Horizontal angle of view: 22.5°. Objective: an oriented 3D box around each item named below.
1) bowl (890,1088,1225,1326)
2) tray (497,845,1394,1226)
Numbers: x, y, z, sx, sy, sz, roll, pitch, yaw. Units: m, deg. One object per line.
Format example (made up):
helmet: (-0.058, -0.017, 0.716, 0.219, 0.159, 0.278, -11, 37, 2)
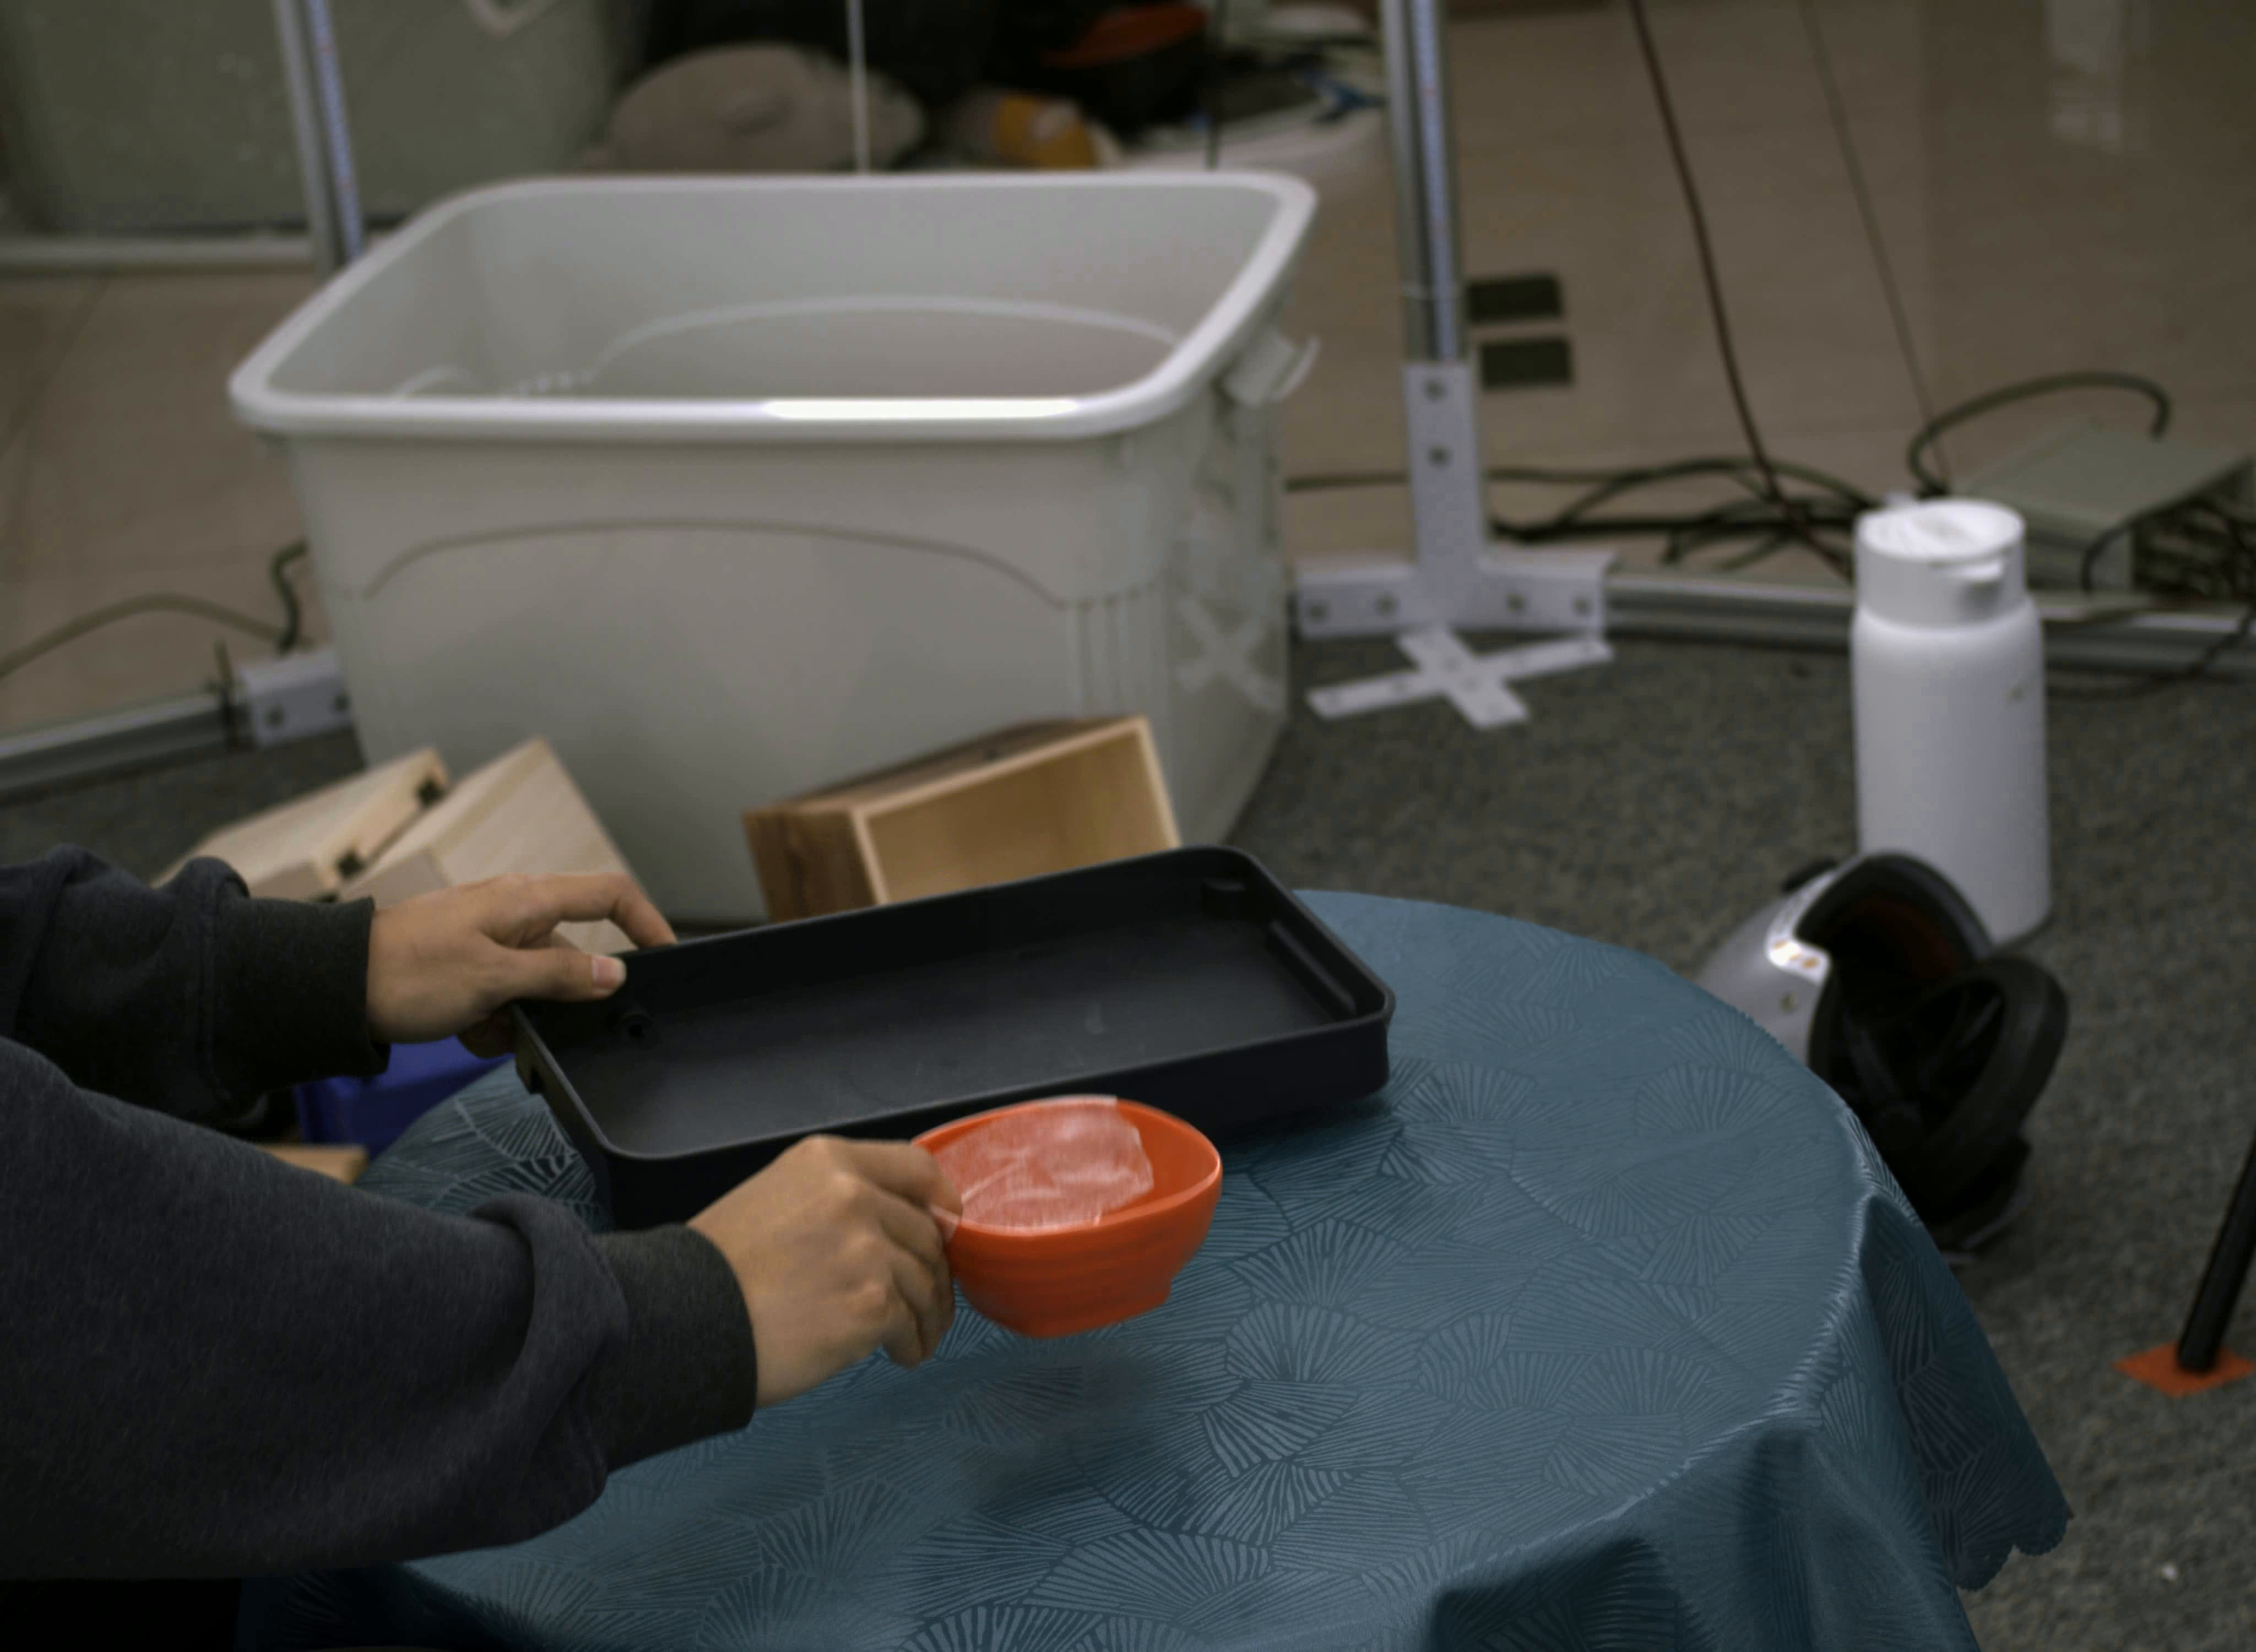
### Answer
bowl: (-0.024, 0.137, 1.994, 0.119, 0.052, 0.117, -2, 20, 1)
tray: (-0.072, 0.077, 2.194, 0.317, 0.037, 0.182, -10, 25, -18)
